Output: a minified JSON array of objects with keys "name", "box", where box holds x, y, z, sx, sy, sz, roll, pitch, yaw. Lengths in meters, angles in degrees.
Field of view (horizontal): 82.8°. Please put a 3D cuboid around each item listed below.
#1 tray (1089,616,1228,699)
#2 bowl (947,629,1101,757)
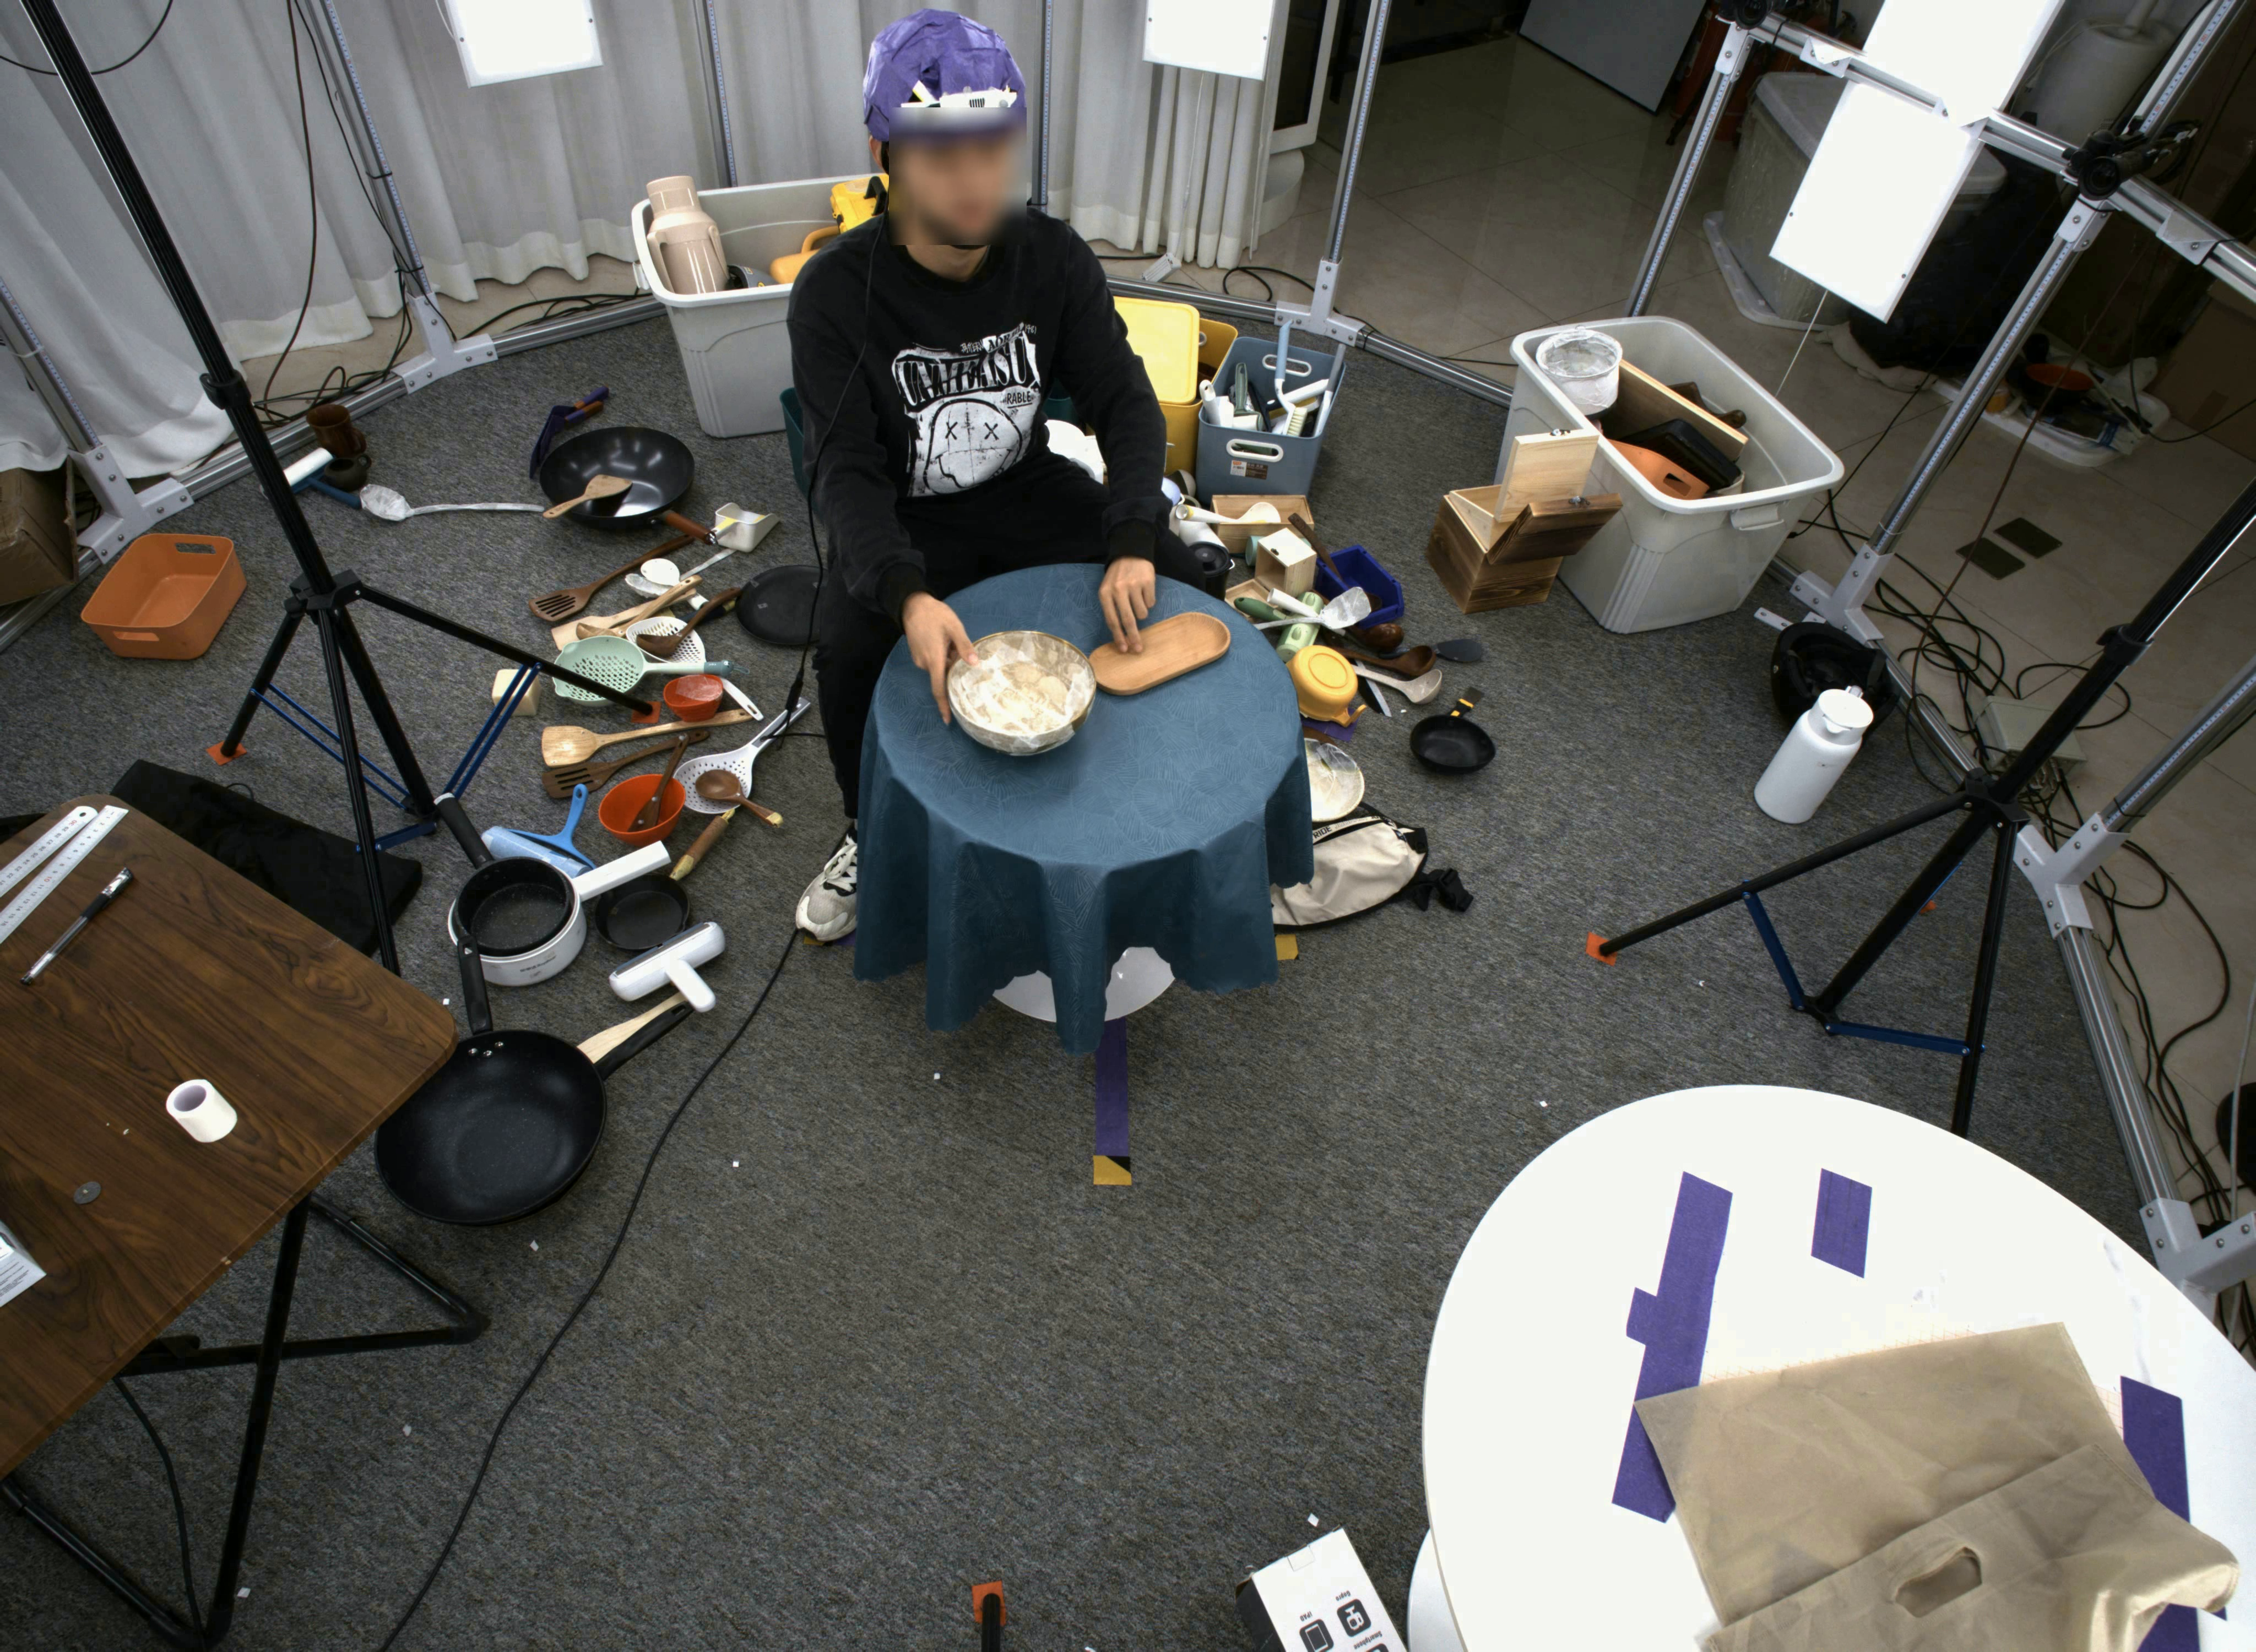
[{"name":"tray","box":[0.045,-0.250,1.895,0.232,0.020,0.104,-27,54,-23]},{"name":"bowl","box":[-0.141,-0.168,1.761,0.214,0.092,0.220,1,49,-2]}]
